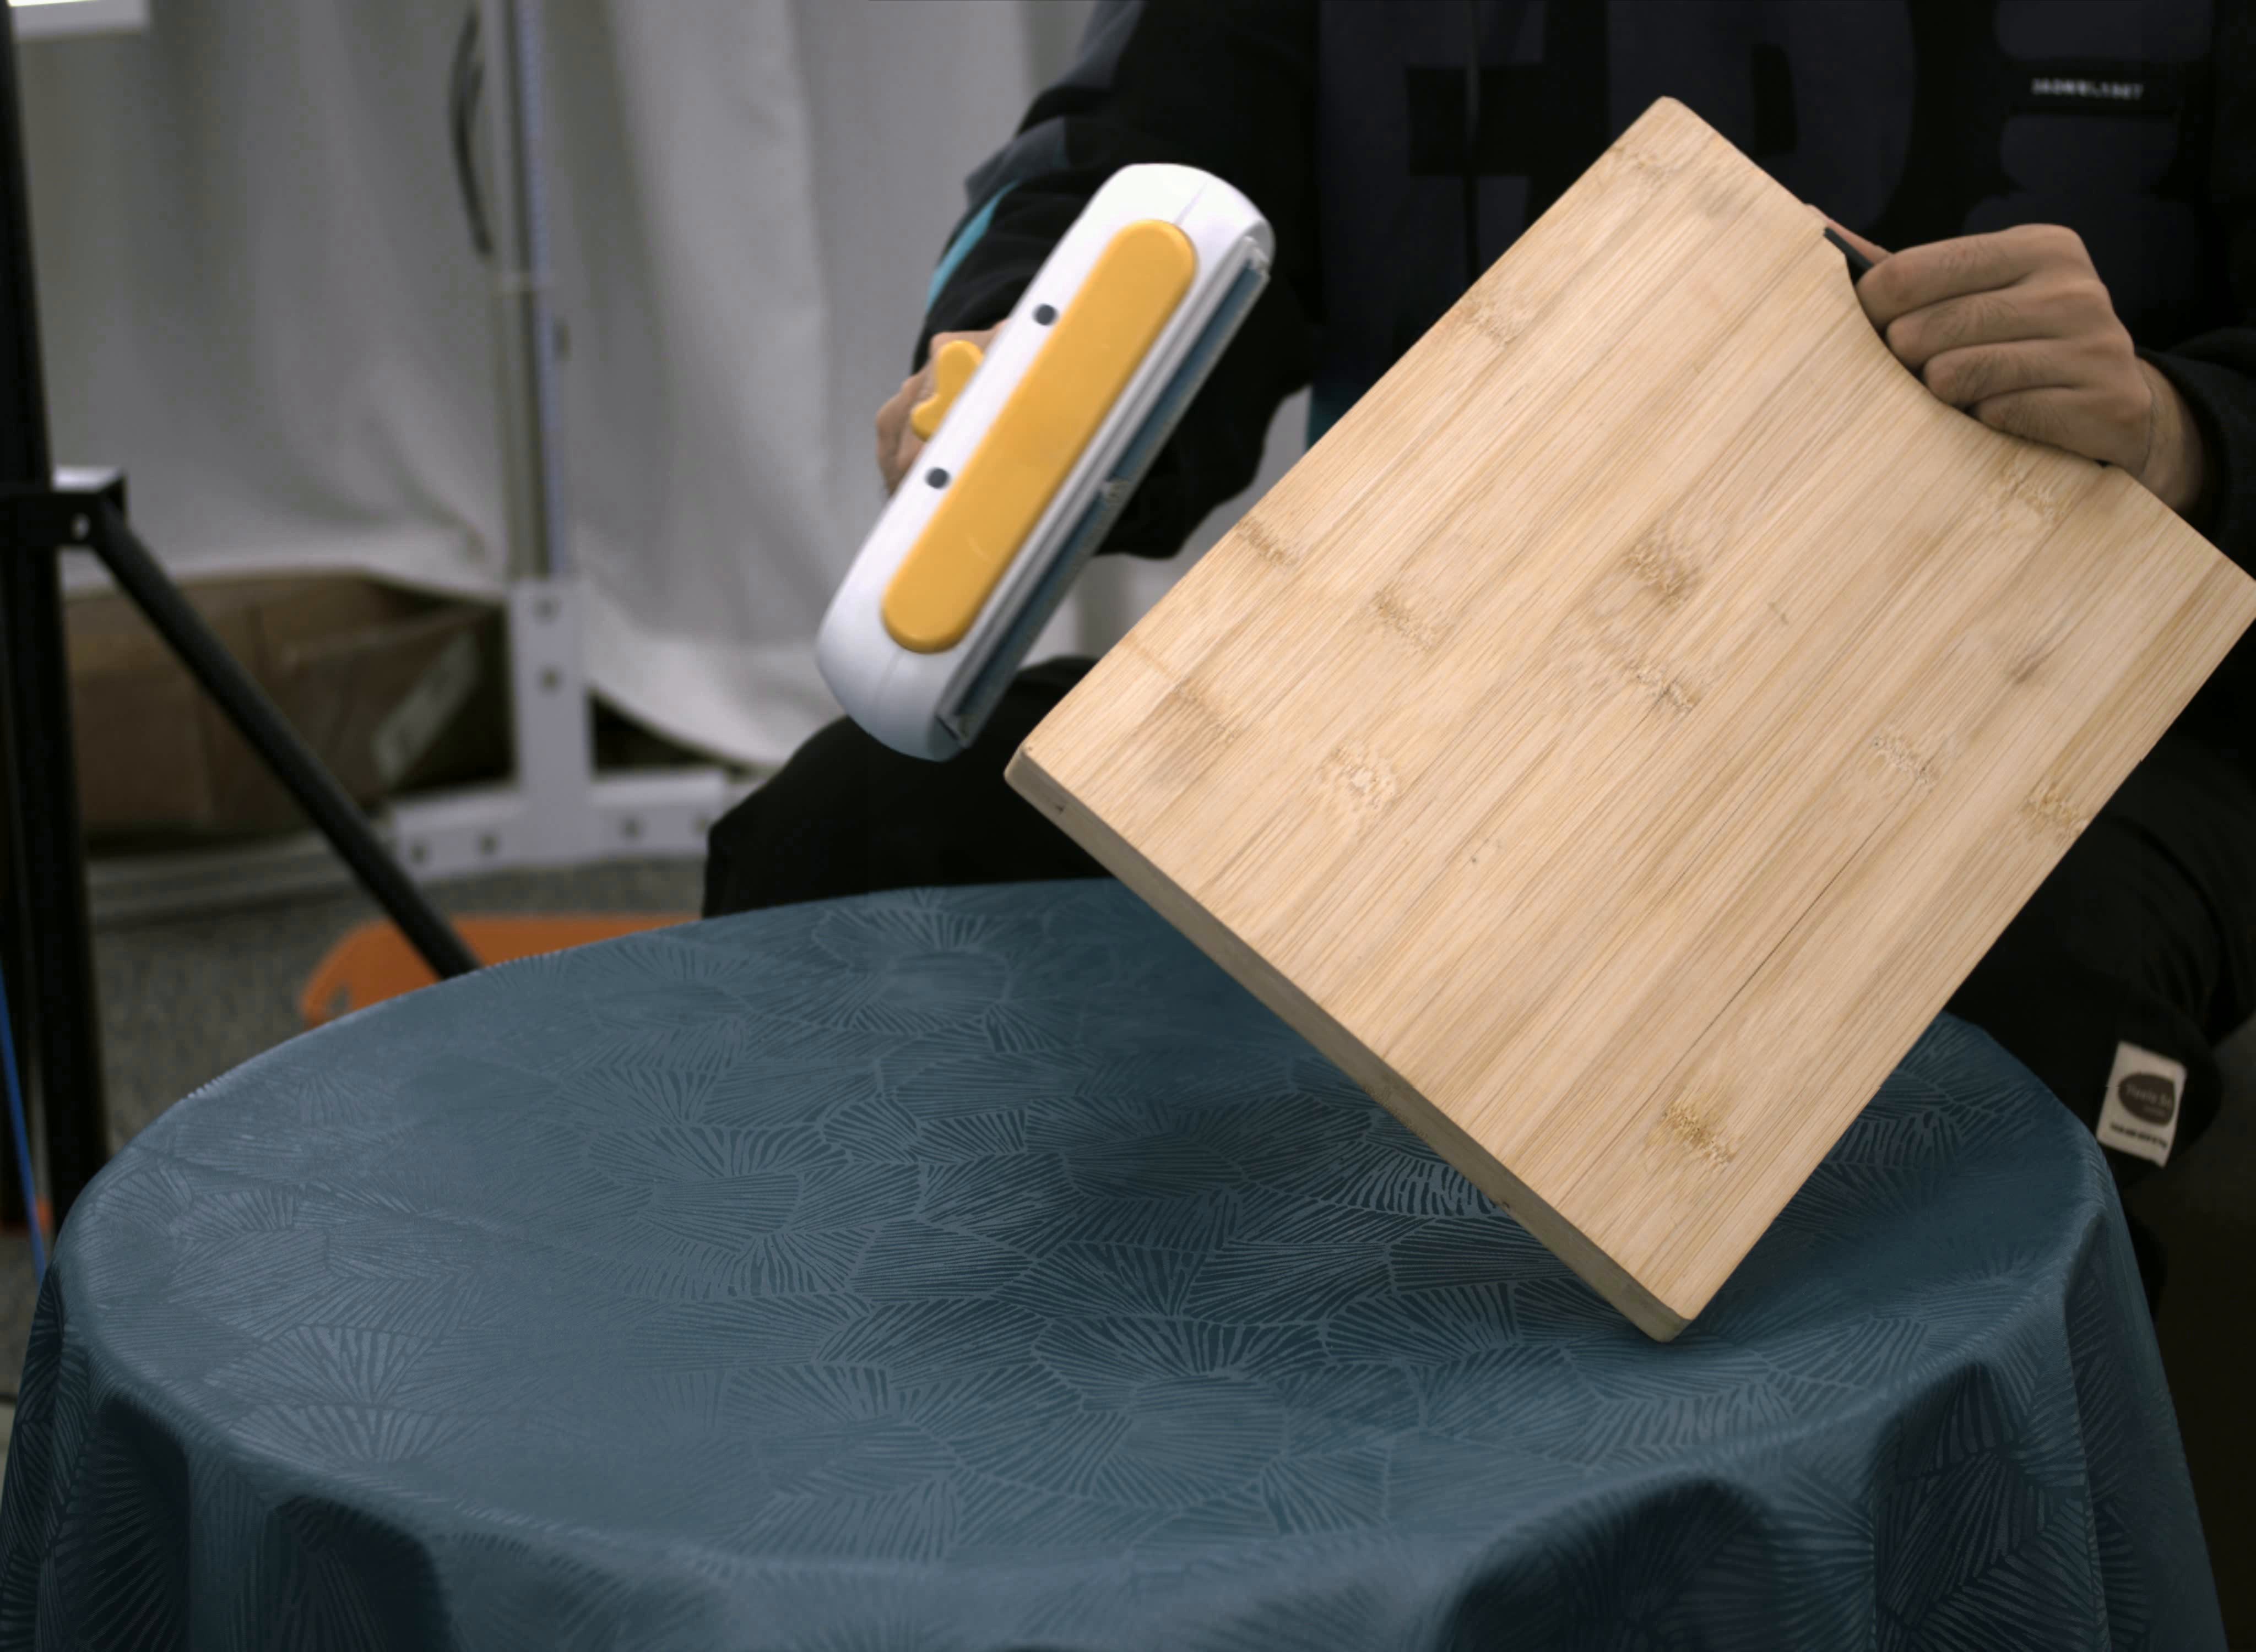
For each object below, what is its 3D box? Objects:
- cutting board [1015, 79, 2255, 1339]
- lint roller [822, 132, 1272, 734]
[{"bbox_3d":[0.158,-0.044,1.523,0.252,0.024,0.345,40,57,6],"label":"cutting board"},{"bbox_3d":[-0.031,-0.108,1.624,0.074,0.193,0.192,28,-10,4],"label":"lint roller"}]
